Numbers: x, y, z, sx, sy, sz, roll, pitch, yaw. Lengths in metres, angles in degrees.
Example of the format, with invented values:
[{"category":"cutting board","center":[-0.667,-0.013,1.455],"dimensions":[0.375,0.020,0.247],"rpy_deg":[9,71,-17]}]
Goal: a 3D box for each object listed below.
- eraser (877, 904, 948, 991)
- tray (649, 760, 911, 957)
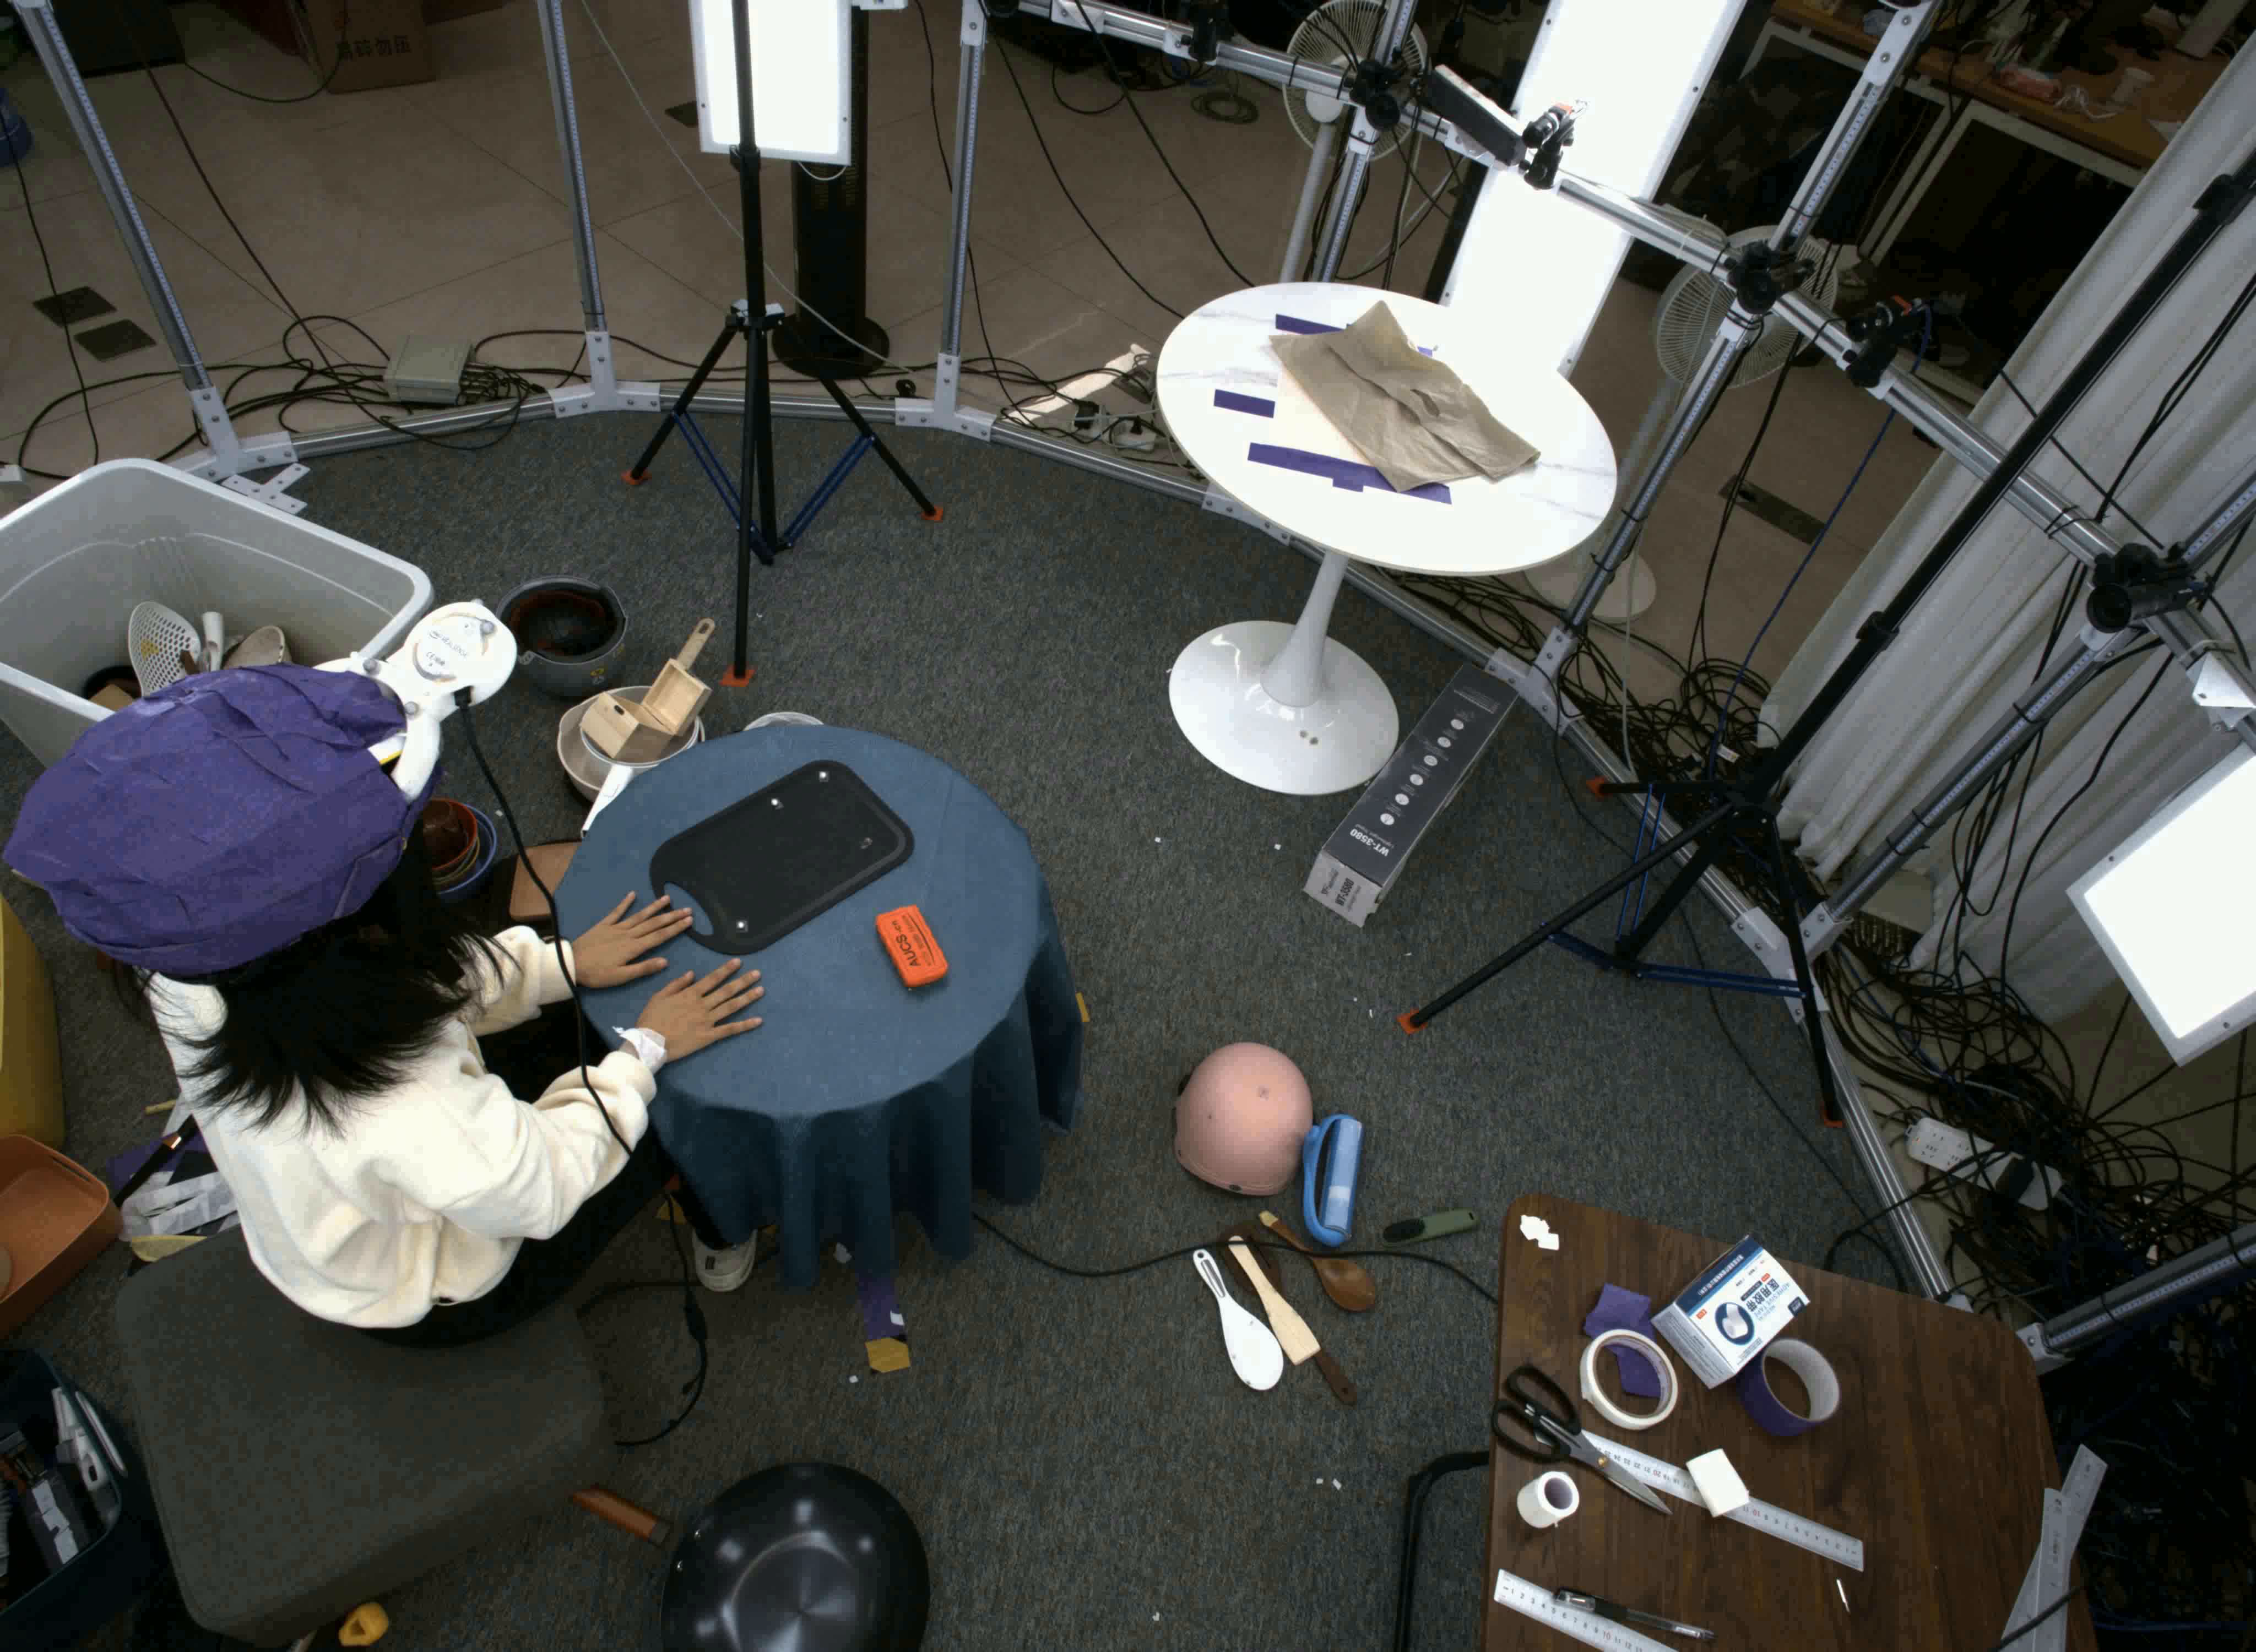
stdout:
[{"category":"eraser","center":[-0.271,0.150,1.632],"dimensions":[0.059,0.023,0.105],"rpy_deg":[-19,60,-27]},{"category":"tray","center":[-0.454,0.037,1.679],"dimensions":[0.326,0.010,0.206],"rpy_deg":[-35,68,-33]}]
